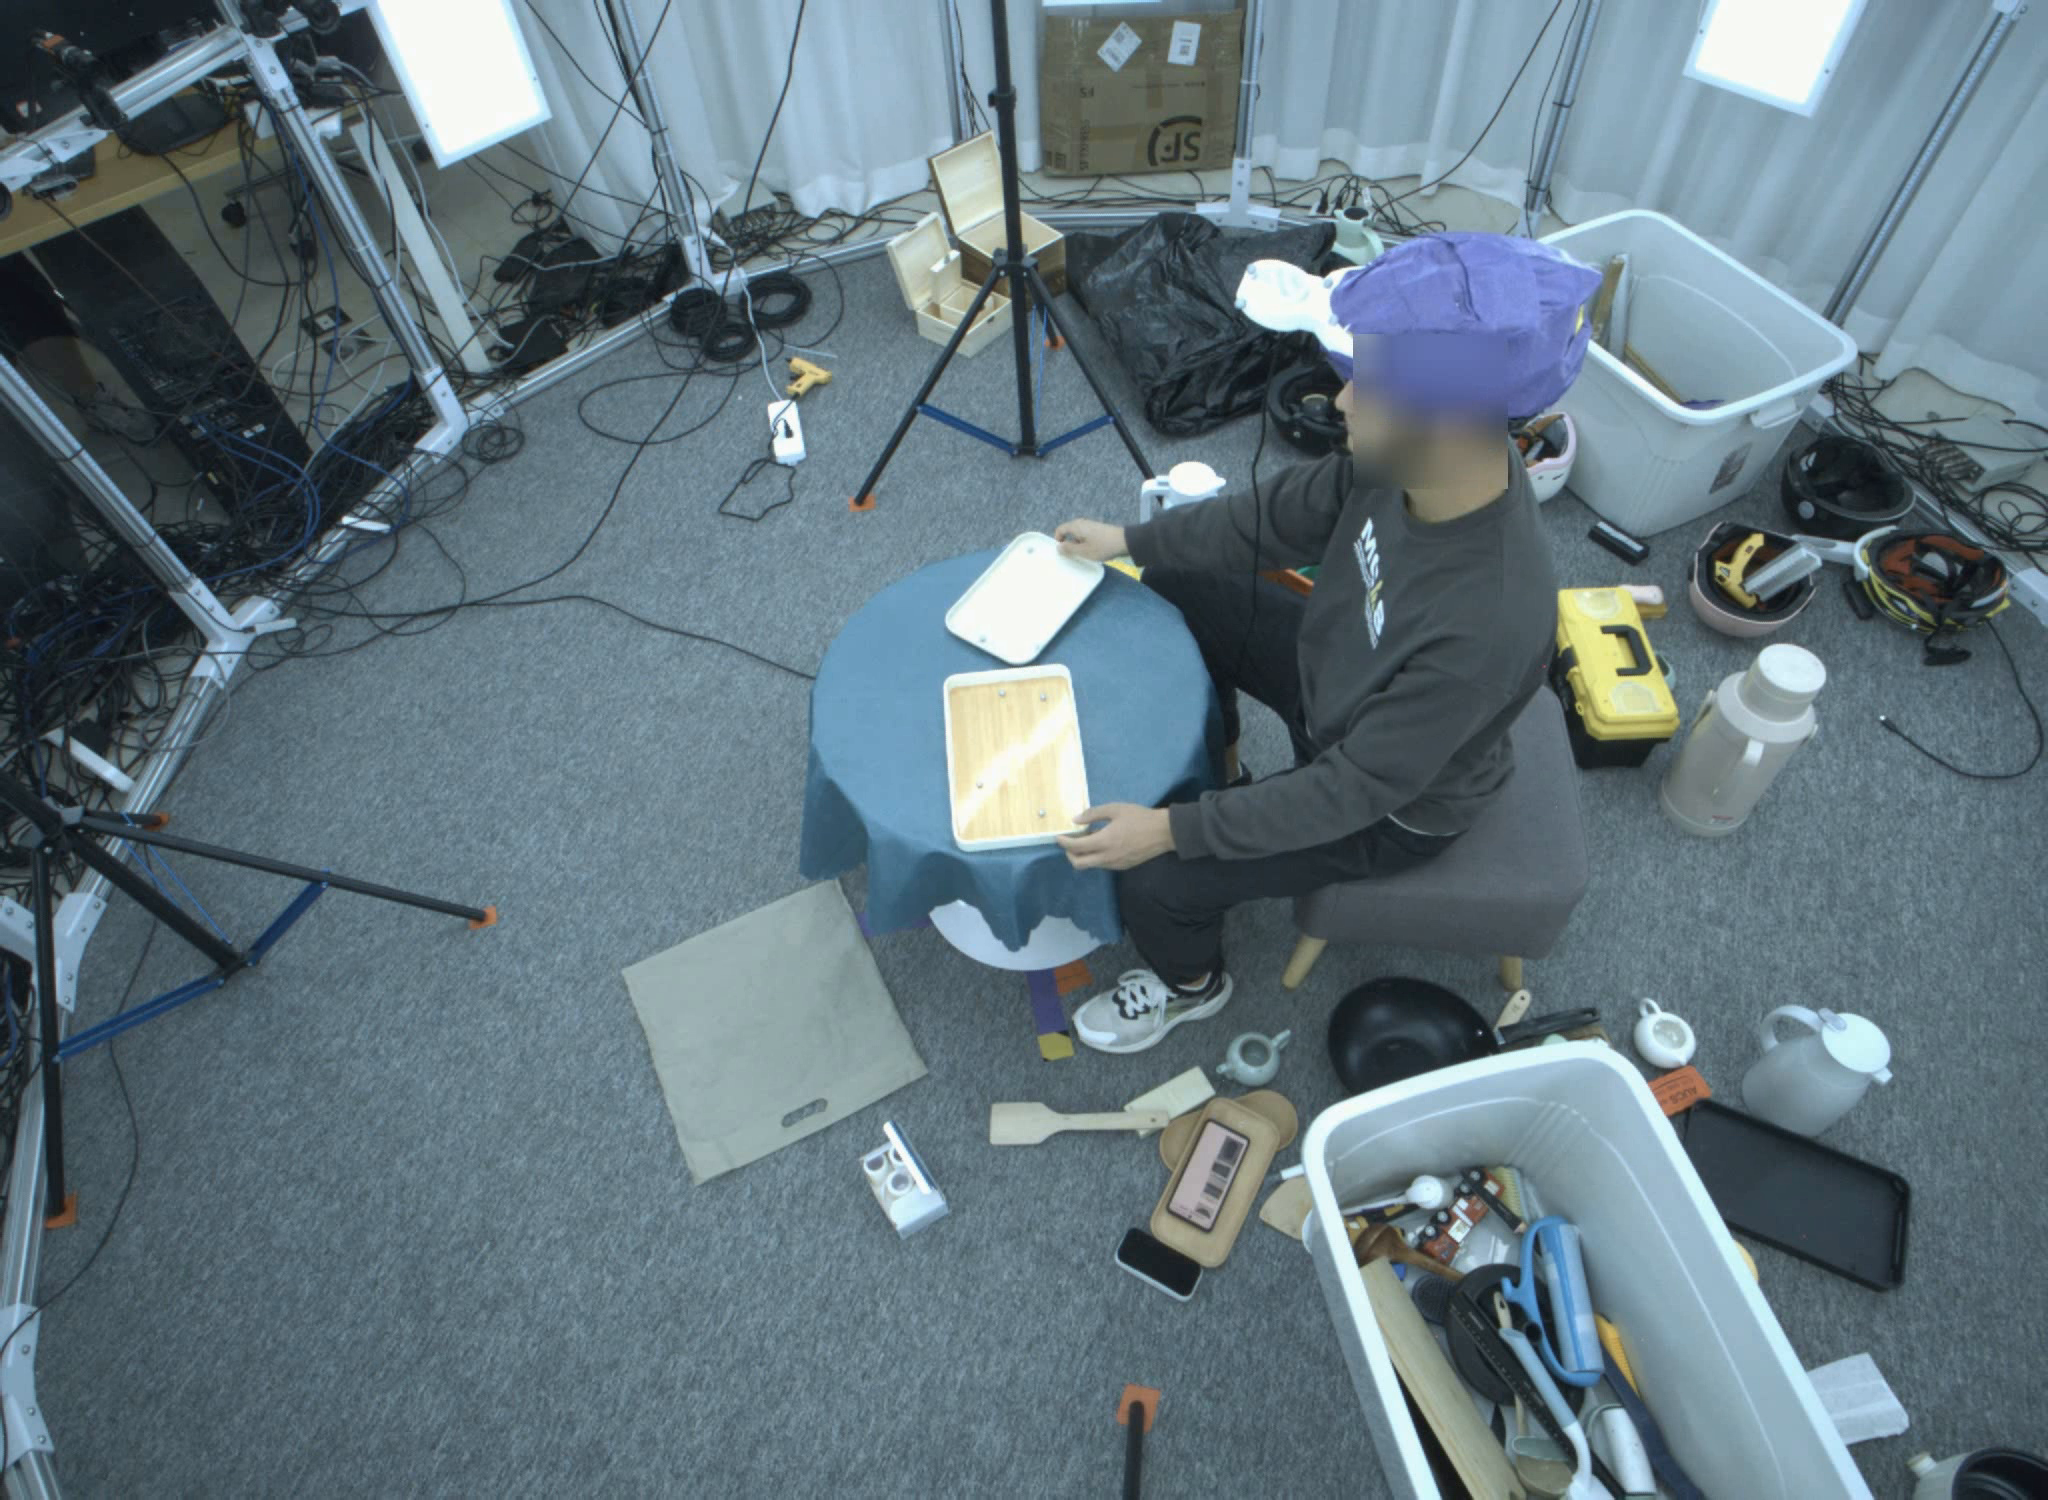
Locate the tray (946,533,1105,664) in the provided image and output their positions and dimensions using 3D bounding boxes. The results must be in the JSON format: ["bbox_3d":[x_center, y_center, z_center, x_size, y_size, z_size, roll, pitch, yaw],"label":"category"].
[{"bbox_3d":[0.003,-0.240,1.935,0.168,0.018,0.240,29,64,23],"label":"tray"}]

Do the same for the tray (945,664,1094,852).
[{"bbox_3d":[-0.011,0.006,1.765,0.192,0.028,0.296,-5,55,-2],"label":"tray"}]
